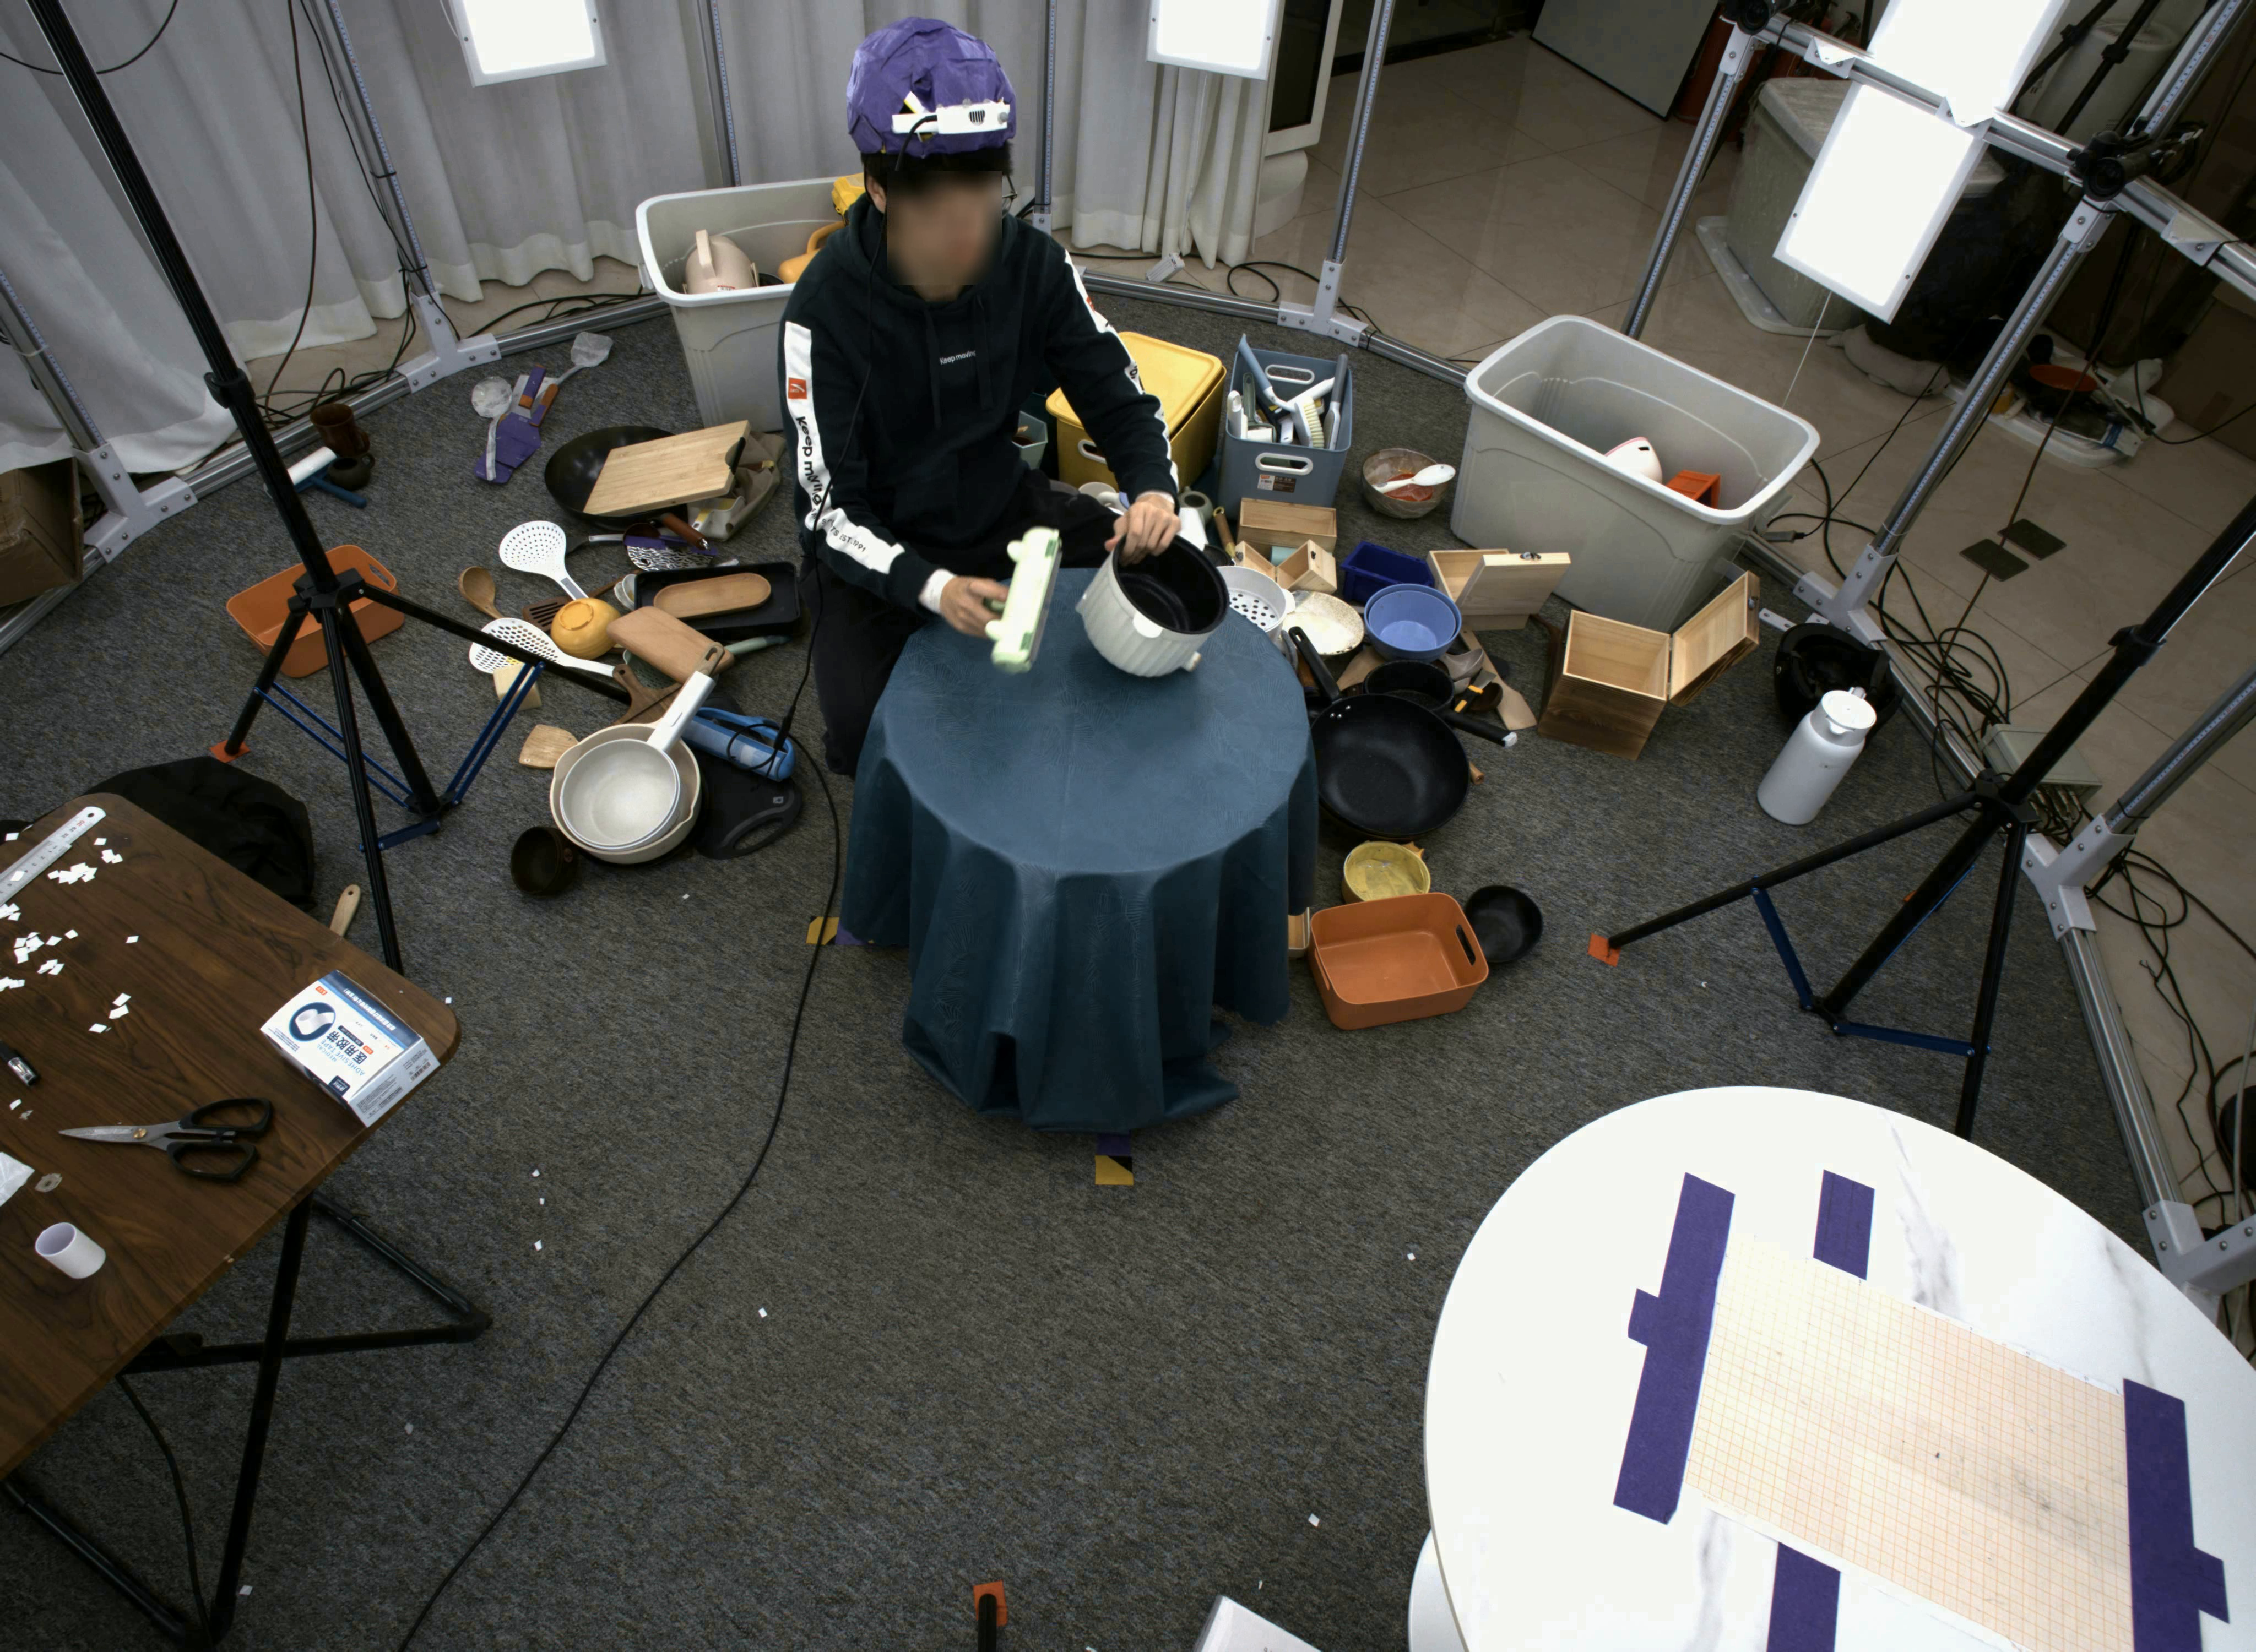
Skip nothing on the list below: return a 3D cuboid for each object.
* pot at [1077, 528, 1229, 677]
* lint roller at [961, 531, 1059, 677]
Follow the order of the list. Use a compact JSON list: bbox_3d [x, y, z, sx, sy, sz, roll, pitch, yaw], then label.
[{"bbox_3d":[0.037,-0.306,1.822,0.190,0.140,0.245,29,50,-5],"label":"pot"},{"bbox_3d":[-0.183,-0.302,1.755,0.184,0.081,0.201,2,71,41],"label":"lint roller"}]
